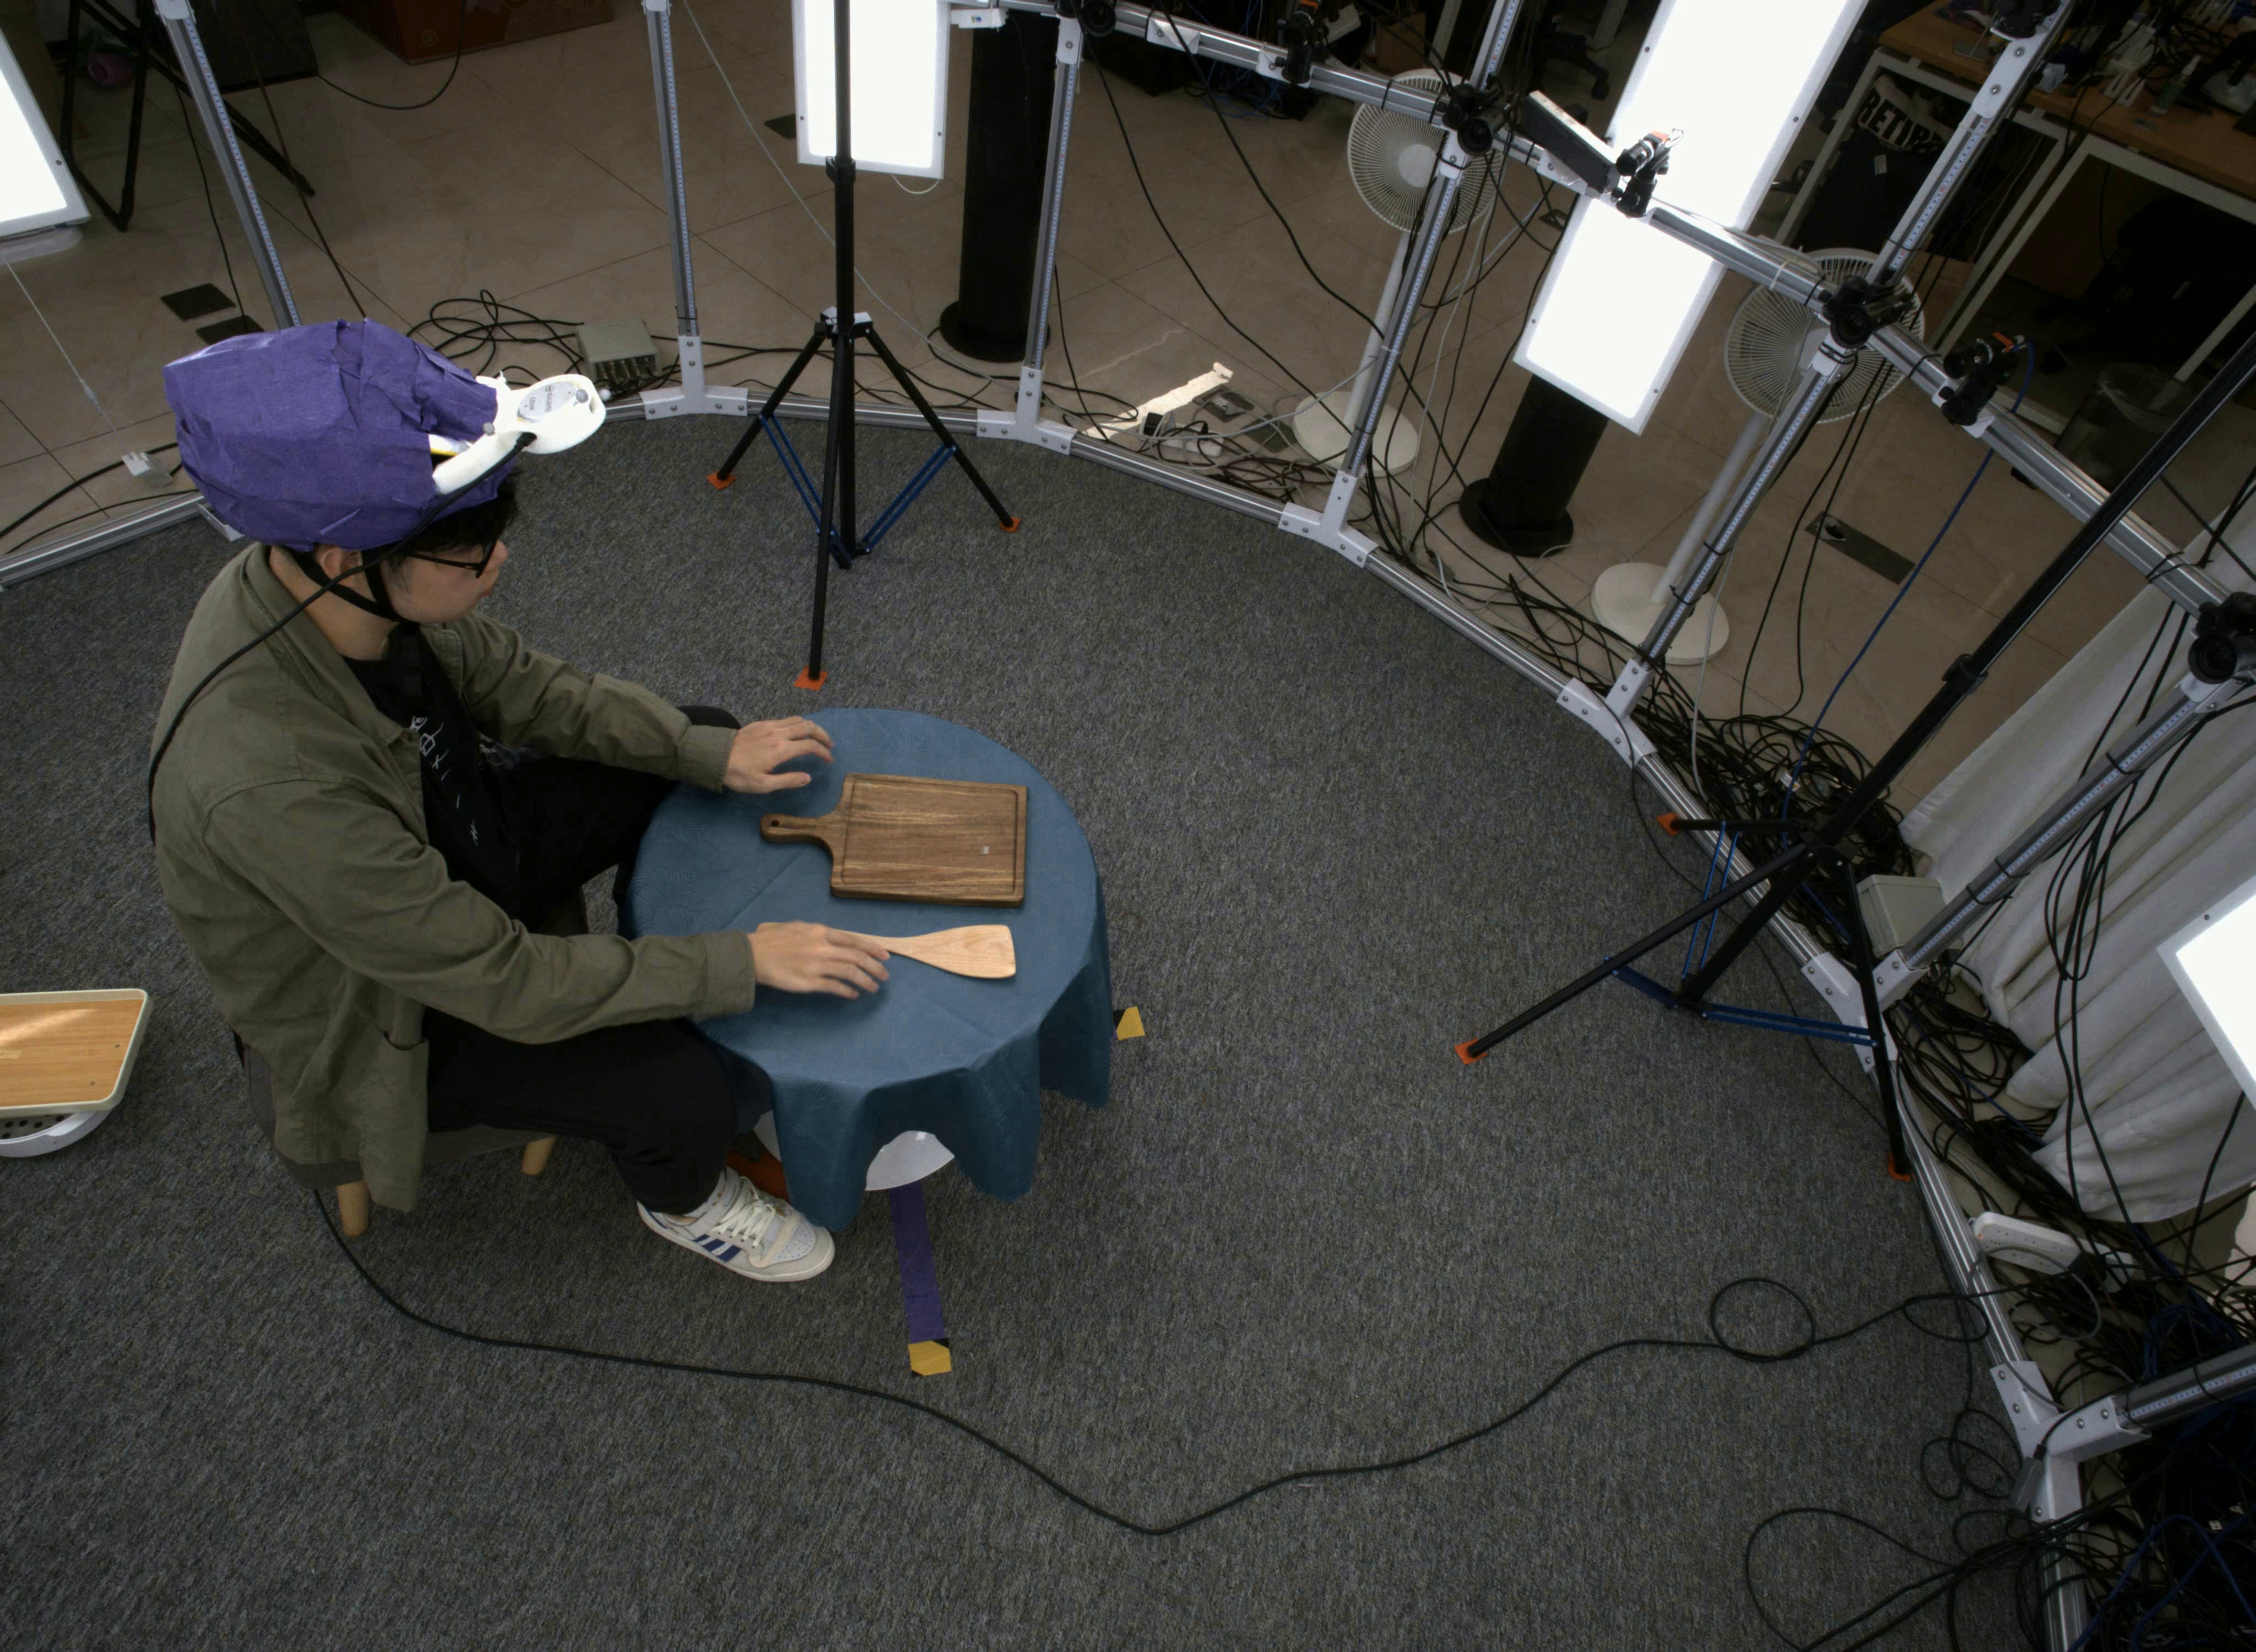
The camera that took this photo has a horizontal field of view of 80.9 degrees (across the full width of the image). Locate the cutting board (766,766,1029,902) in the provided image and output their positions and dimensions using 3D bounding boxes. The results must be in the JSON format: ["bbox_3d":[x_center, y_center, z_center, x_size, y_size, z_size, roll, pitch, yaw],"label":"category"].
[{"bbox_3d":[-0.309,0.004,1.752,0.351,0.023,0.197,5,53,-10],"label":"cutting board"}]

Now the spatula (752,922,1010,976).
[{"bbox_3d":[-0.311,0.144,1.651,0.327,0.017,0.078,6,53,-10],"label":"spatula"}]
